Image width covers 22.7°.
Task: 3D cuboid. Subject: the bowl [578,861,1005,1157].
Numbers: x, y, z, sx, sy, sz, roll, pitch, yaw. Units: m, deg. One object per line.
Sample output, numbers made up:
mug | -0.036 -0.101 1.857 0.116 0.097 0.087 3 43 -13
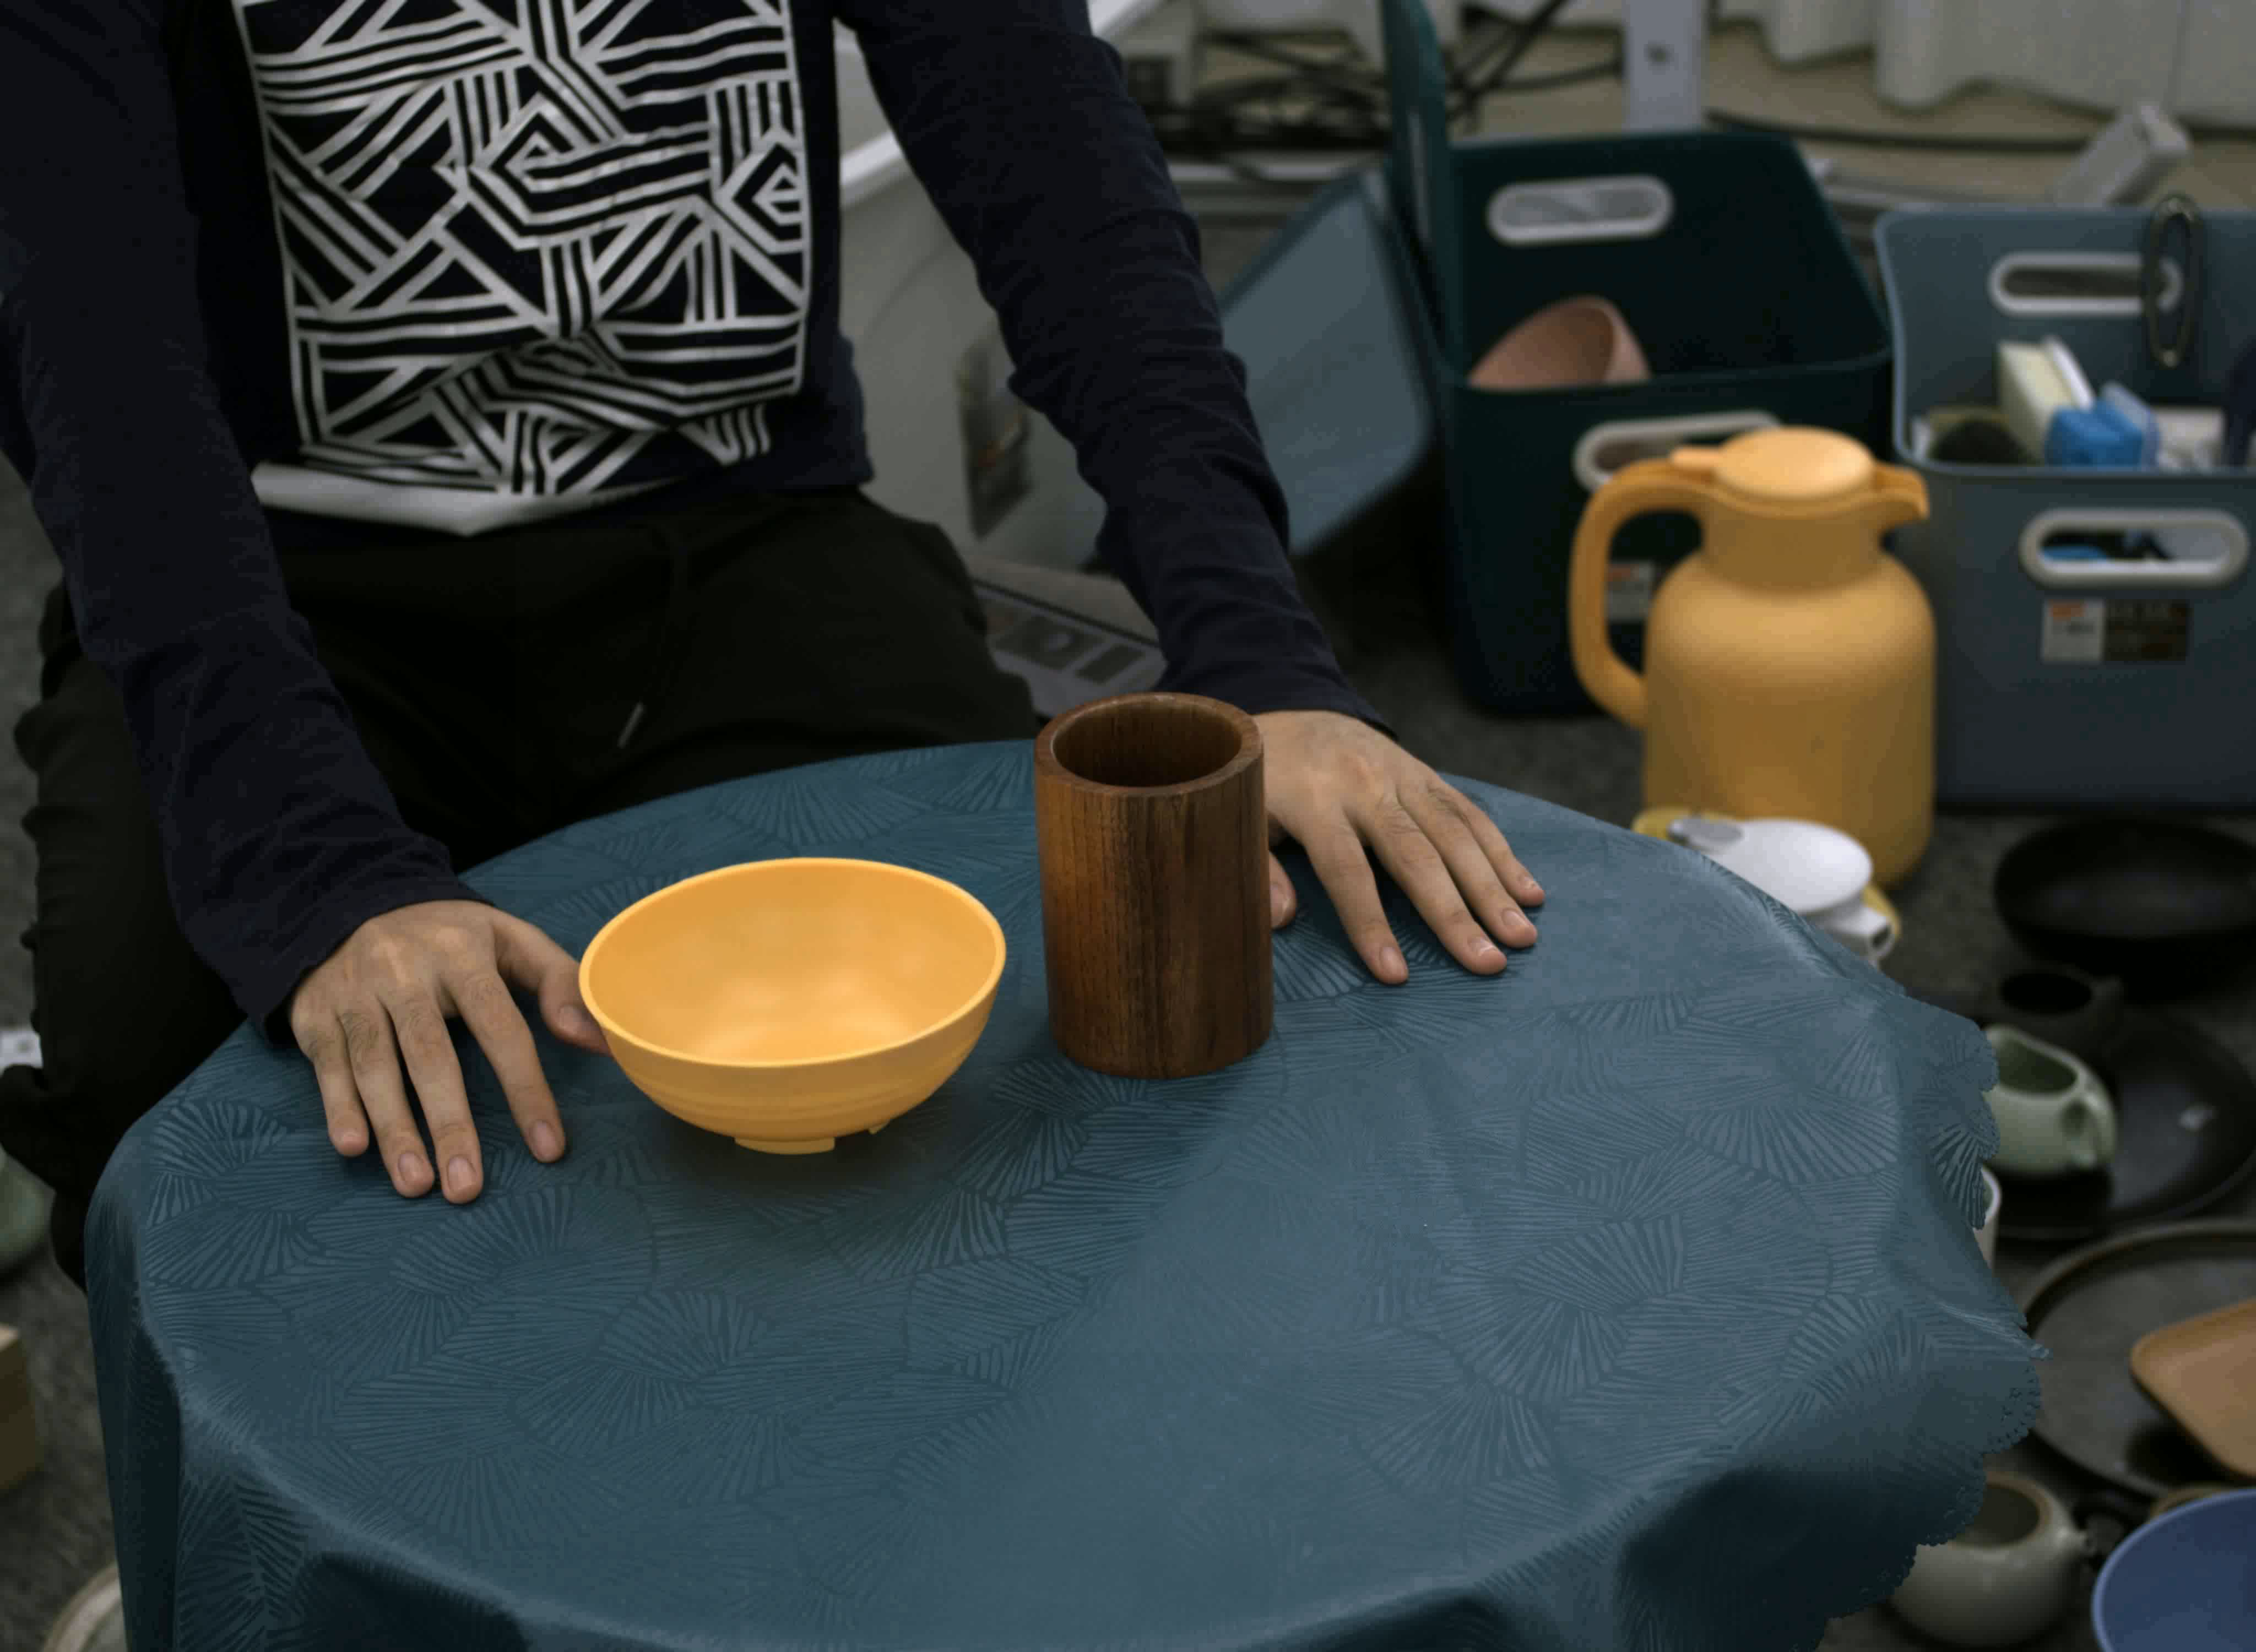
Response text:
bowl | -0.112 0.070 1.904 0.144 0.059 0.147 -2 27 1

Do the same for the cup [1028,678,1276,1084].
cup | 0.008 0.018 1.933 0.087 0.117 0.089 -2 25 1
